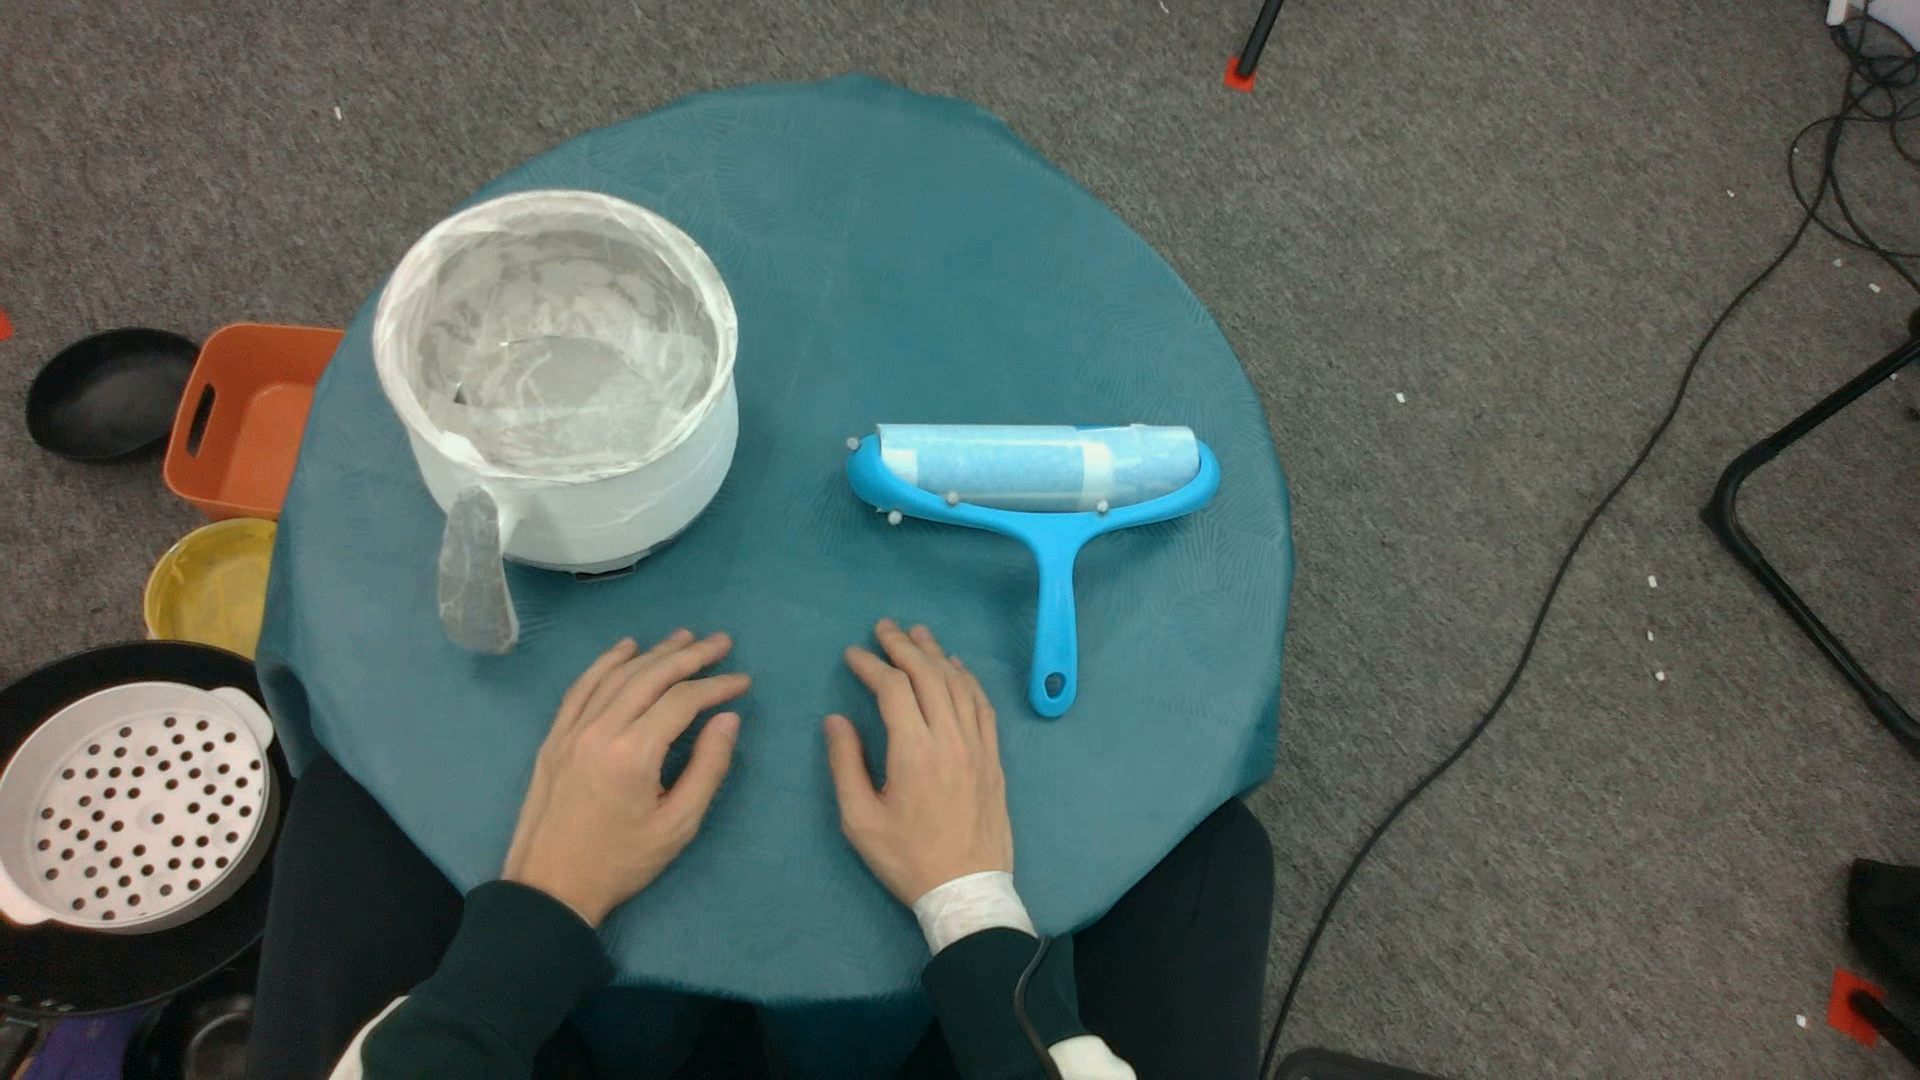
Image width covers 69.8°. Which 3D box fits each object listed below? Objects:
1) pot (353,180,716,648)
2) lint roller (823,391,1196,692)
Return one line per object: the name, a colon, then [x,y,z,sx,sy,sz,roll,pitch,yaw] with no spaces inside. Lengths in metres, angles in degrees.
pot: [-0.230,-0.062,0.744,0.179,0.136,0.234,15,63,-2]
lint roller: [0.042,-0.006,0.811,0.229,0.067,0.181,-5,66,-14]
